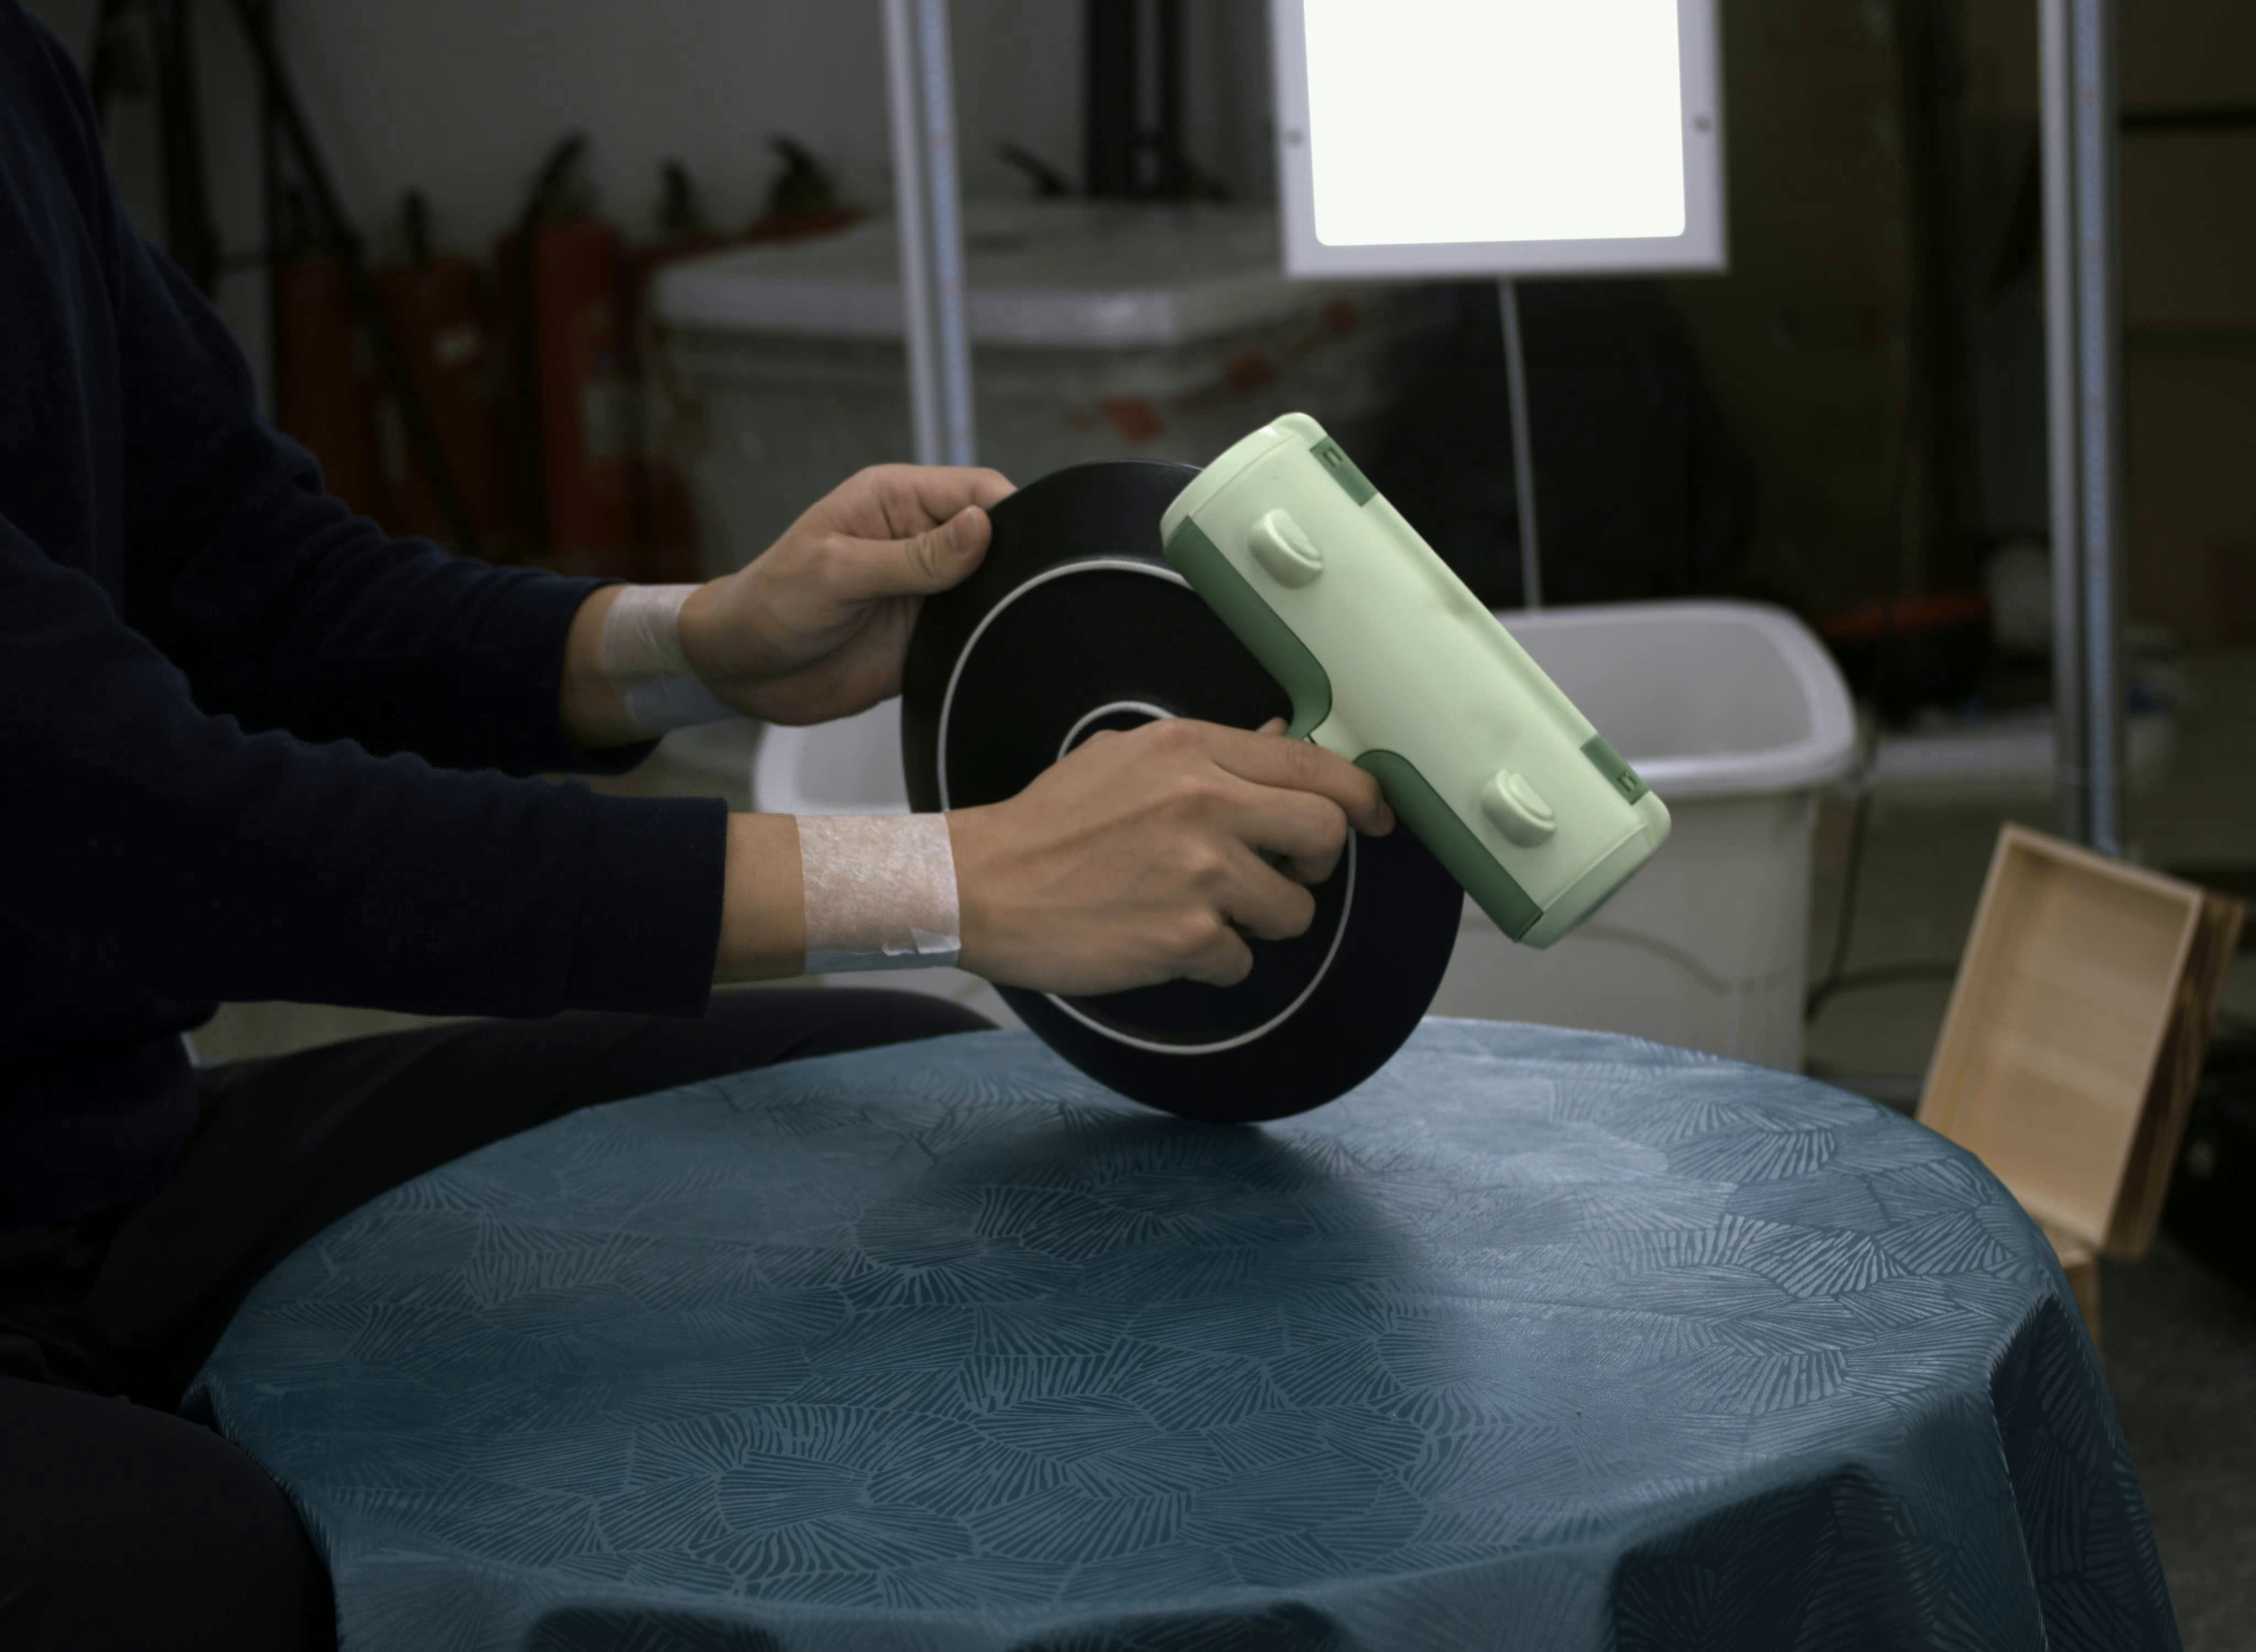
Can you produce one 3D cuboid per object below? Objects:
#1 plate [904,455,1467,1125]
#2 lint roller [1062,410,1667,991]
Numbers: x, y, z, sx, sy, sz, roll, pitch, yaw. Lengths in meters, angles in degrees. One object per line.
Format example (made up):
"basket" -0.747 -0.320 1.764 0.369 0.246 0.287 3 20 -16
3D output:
"plate" 0.012 -0.009 1.931 0.249 0.245 0.023 6 19 37
"lint roller" 0.051 -0.015 1.813 0.181 0.199 0.082 -41 -9 -13
